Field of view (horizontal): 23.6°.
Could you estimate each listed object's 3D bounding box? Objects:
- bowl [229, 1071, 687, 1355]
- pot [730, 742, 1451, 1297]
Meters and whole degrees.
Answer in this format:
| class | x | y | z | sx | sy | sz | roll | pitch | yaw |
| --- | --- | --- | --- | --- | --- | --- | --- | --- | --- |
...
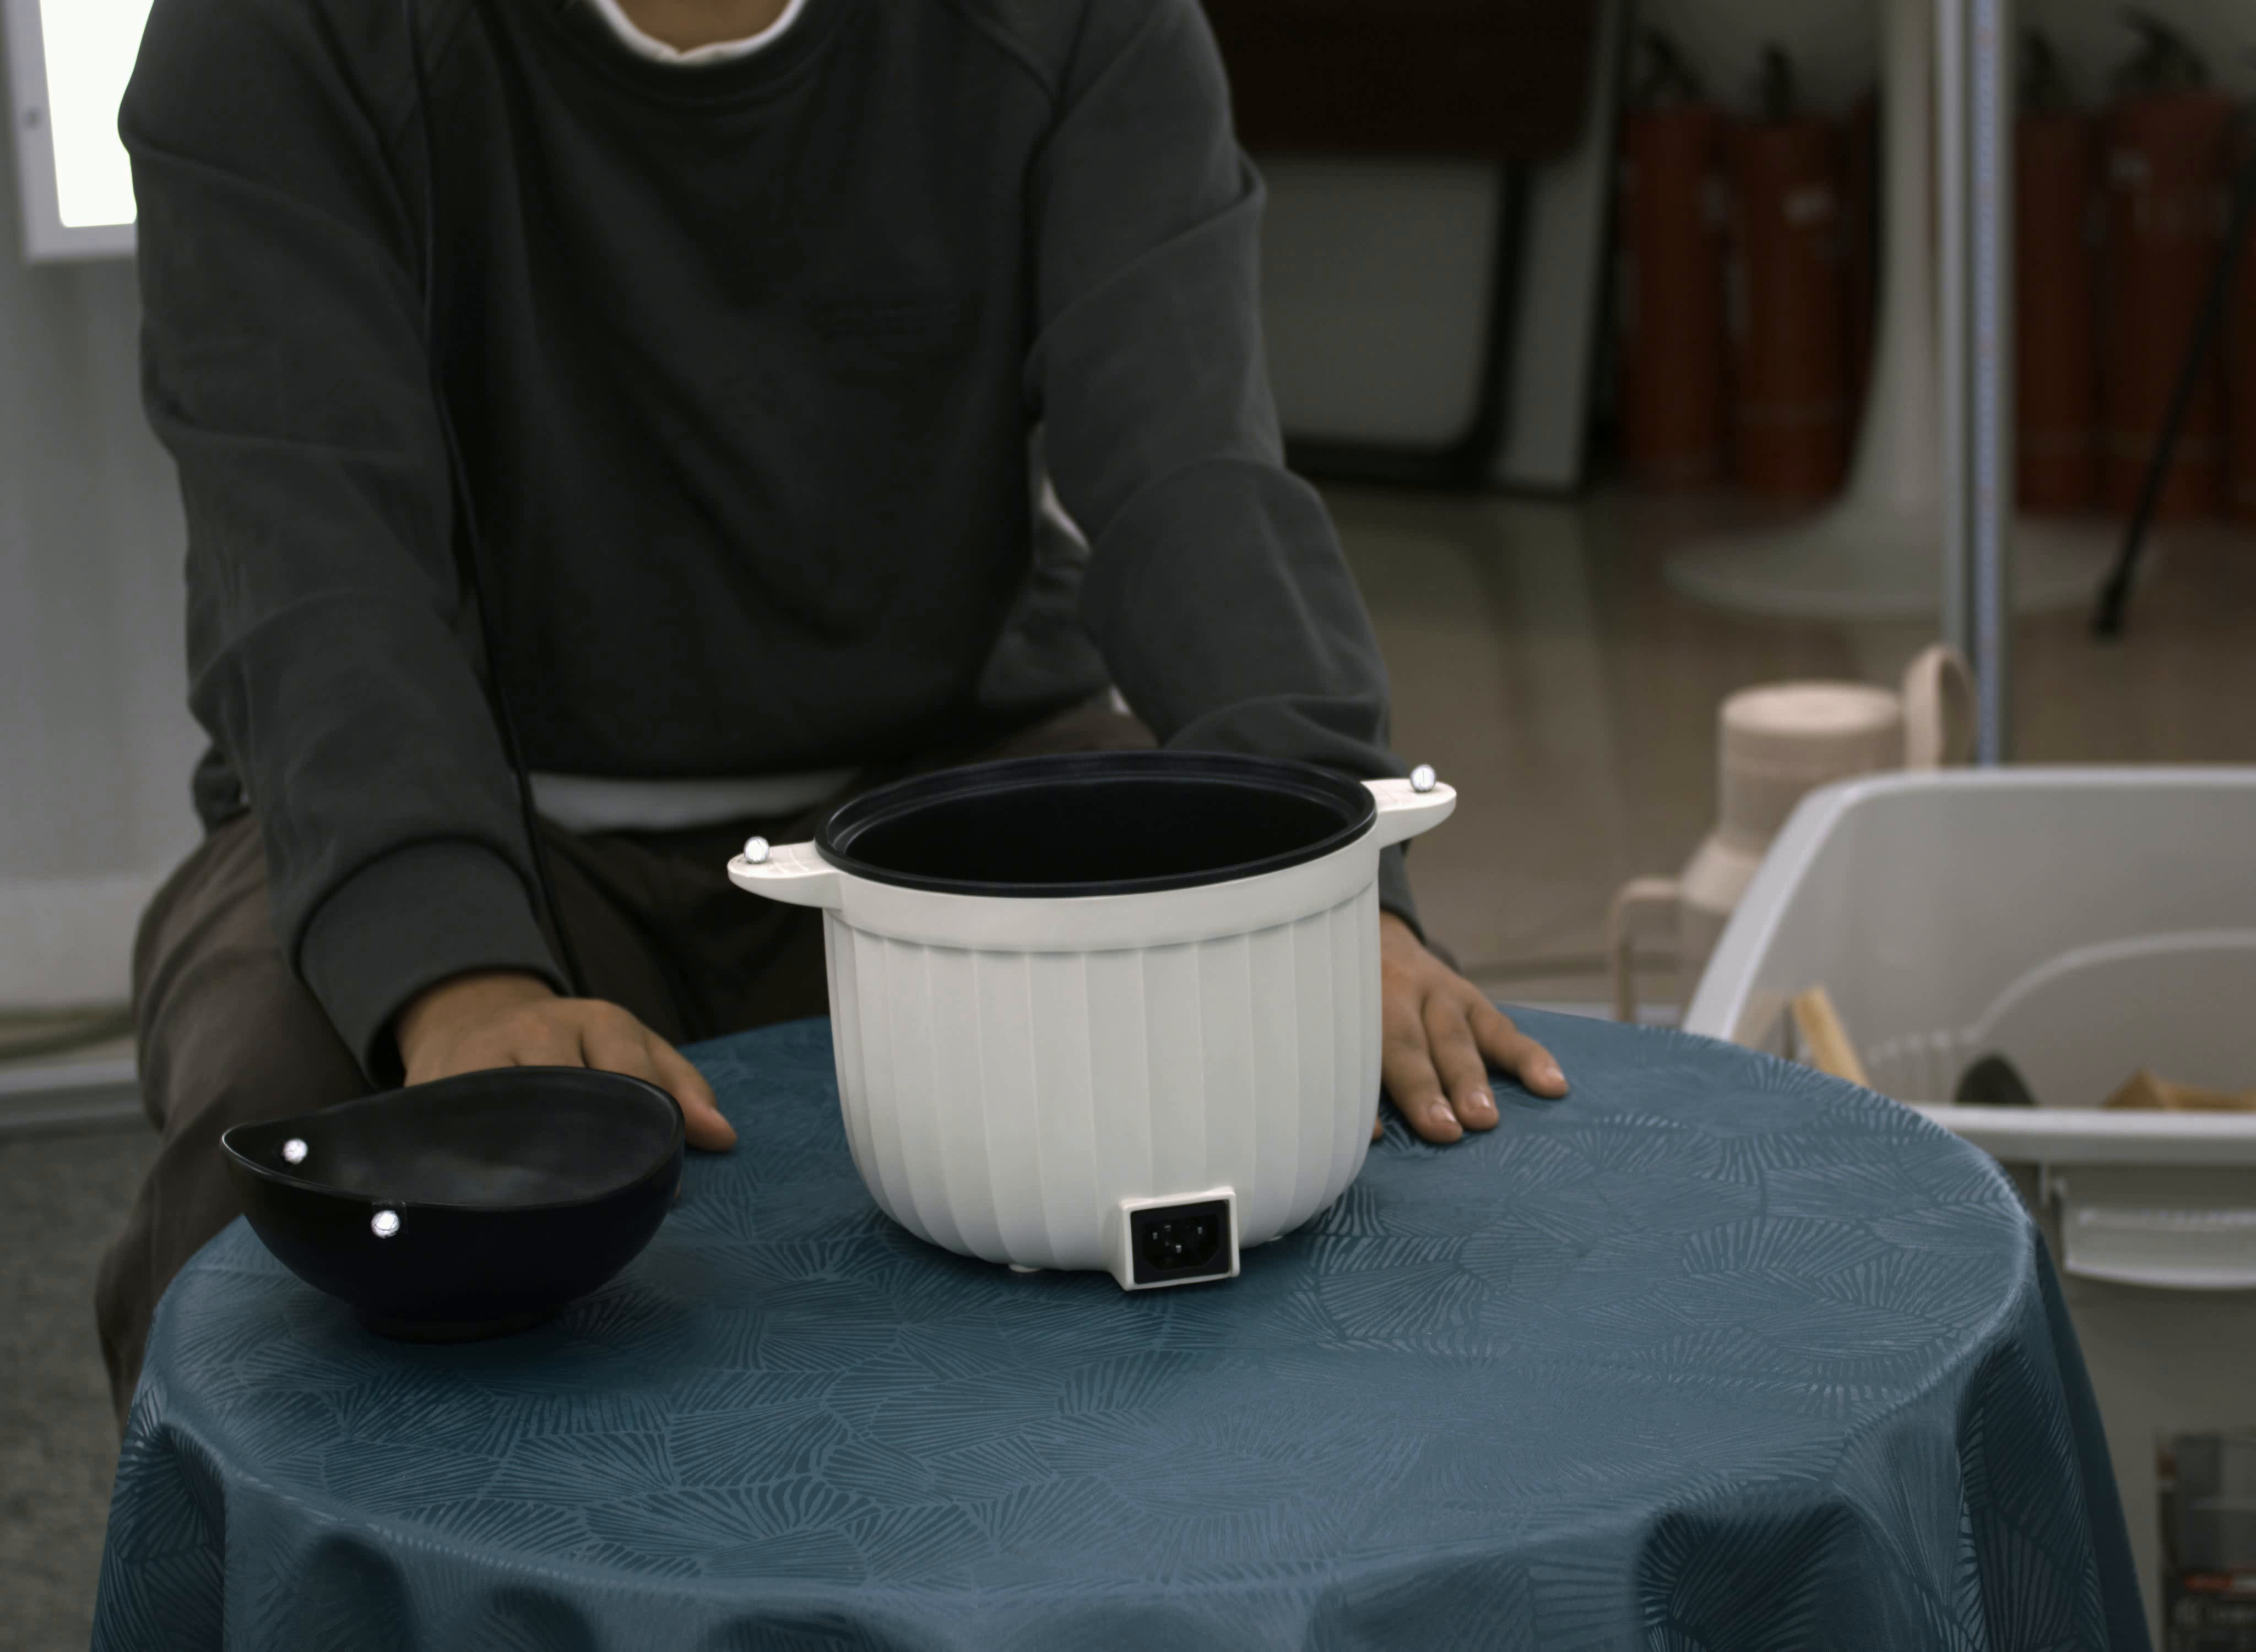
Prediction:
| class | x | y | z | sx | sy | sz | roll | pitch | yaw |
| --- | --- | --- | --- | --- | --- | --- | --- | --- | --- |
| bowl | -0.208 | 0.124 | 1.688 | 0.134 | 0.067 | 0.172 | -13 | 15 | -34 |
| pot | -0.009 | 0.059 | 1.738 | 0.236 | 0.144 | 0.192 | -6 | 17 | -13 |
